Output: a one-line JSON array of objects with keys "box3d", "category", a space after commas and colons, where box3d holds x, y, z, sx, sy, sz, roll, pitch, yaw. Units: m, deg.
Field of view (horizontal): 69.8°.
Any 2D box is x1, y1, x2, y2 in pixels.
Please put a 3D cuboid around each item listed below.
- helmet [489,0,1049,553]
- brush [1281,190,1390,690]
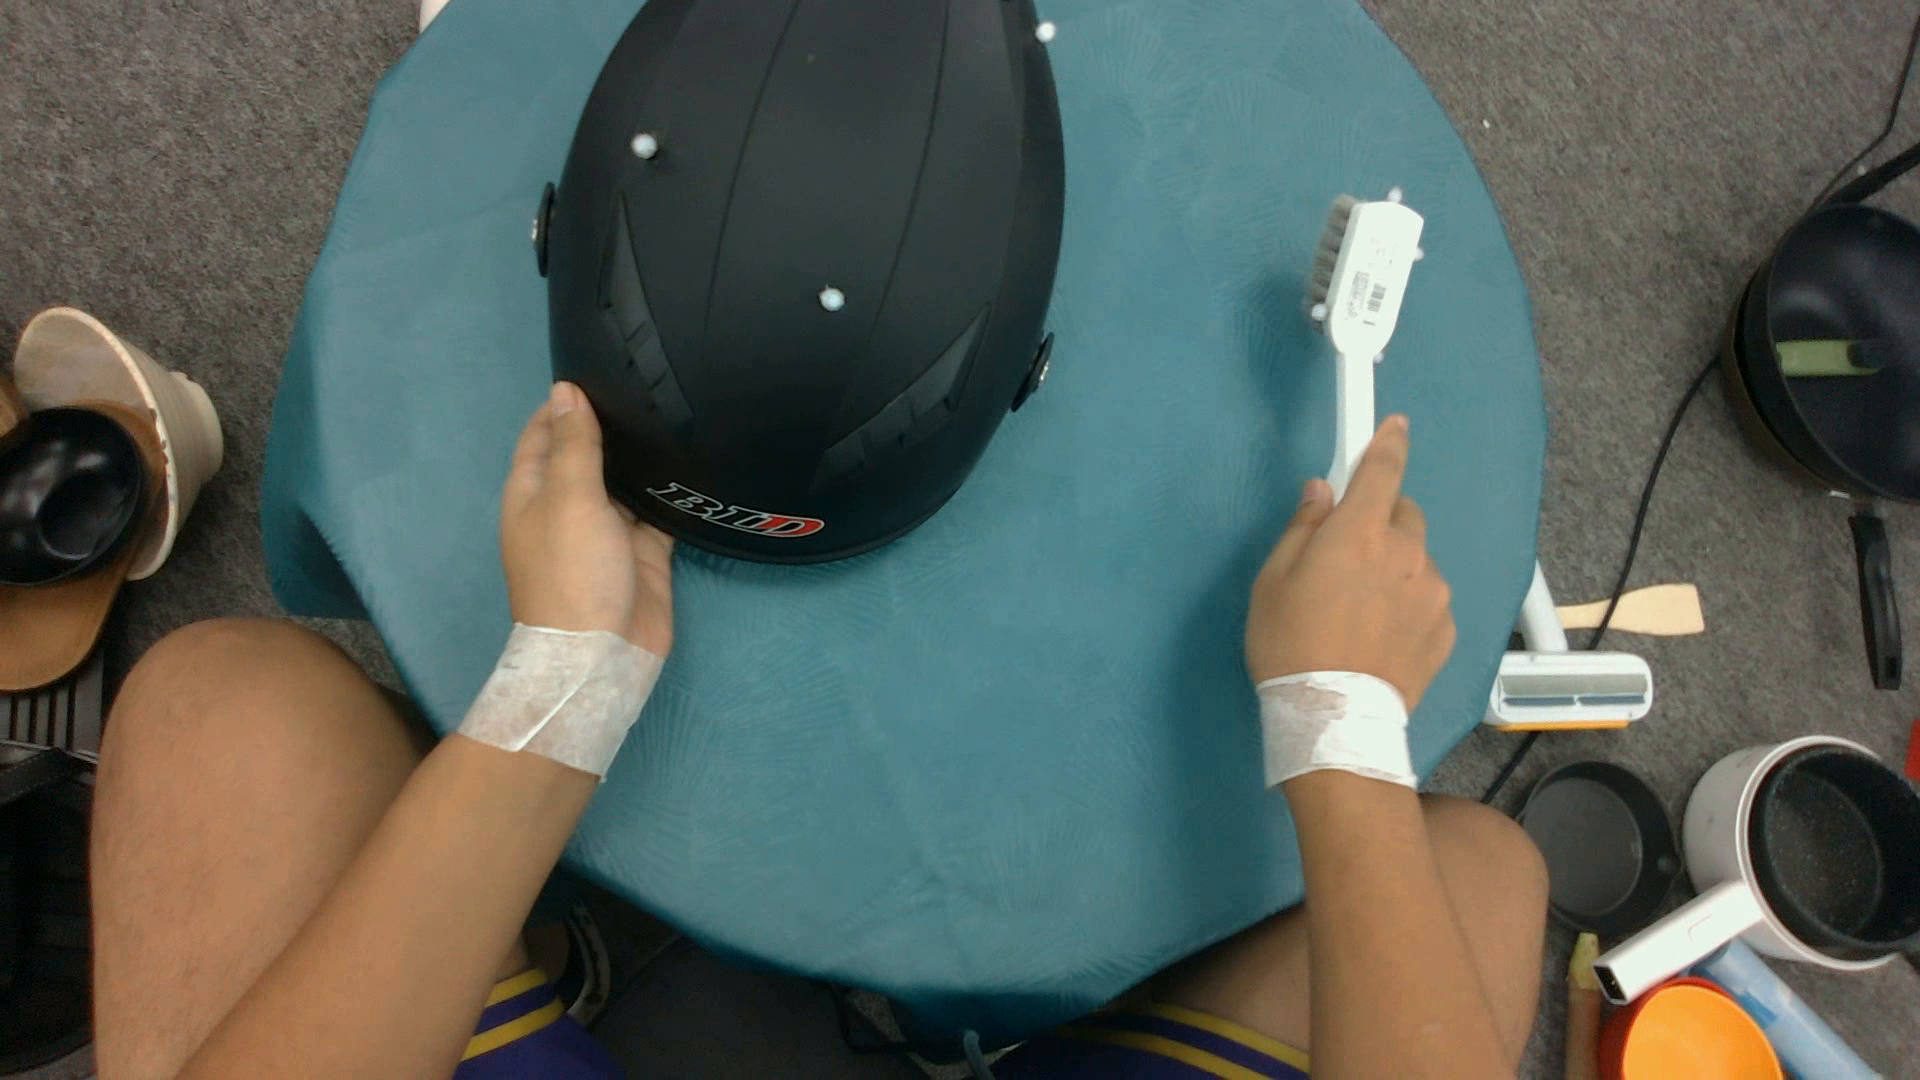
[{"box3d": [-0.071, -0.145, 0.574, 0.247, 0.172, 0.277, 15, 72, -8], "category": "helmet"}, {"box3d": [0.172, -0.051, 0.659, 0.034, 0.050, 0.244, 7, 84, -16], "category": "brush"}]
